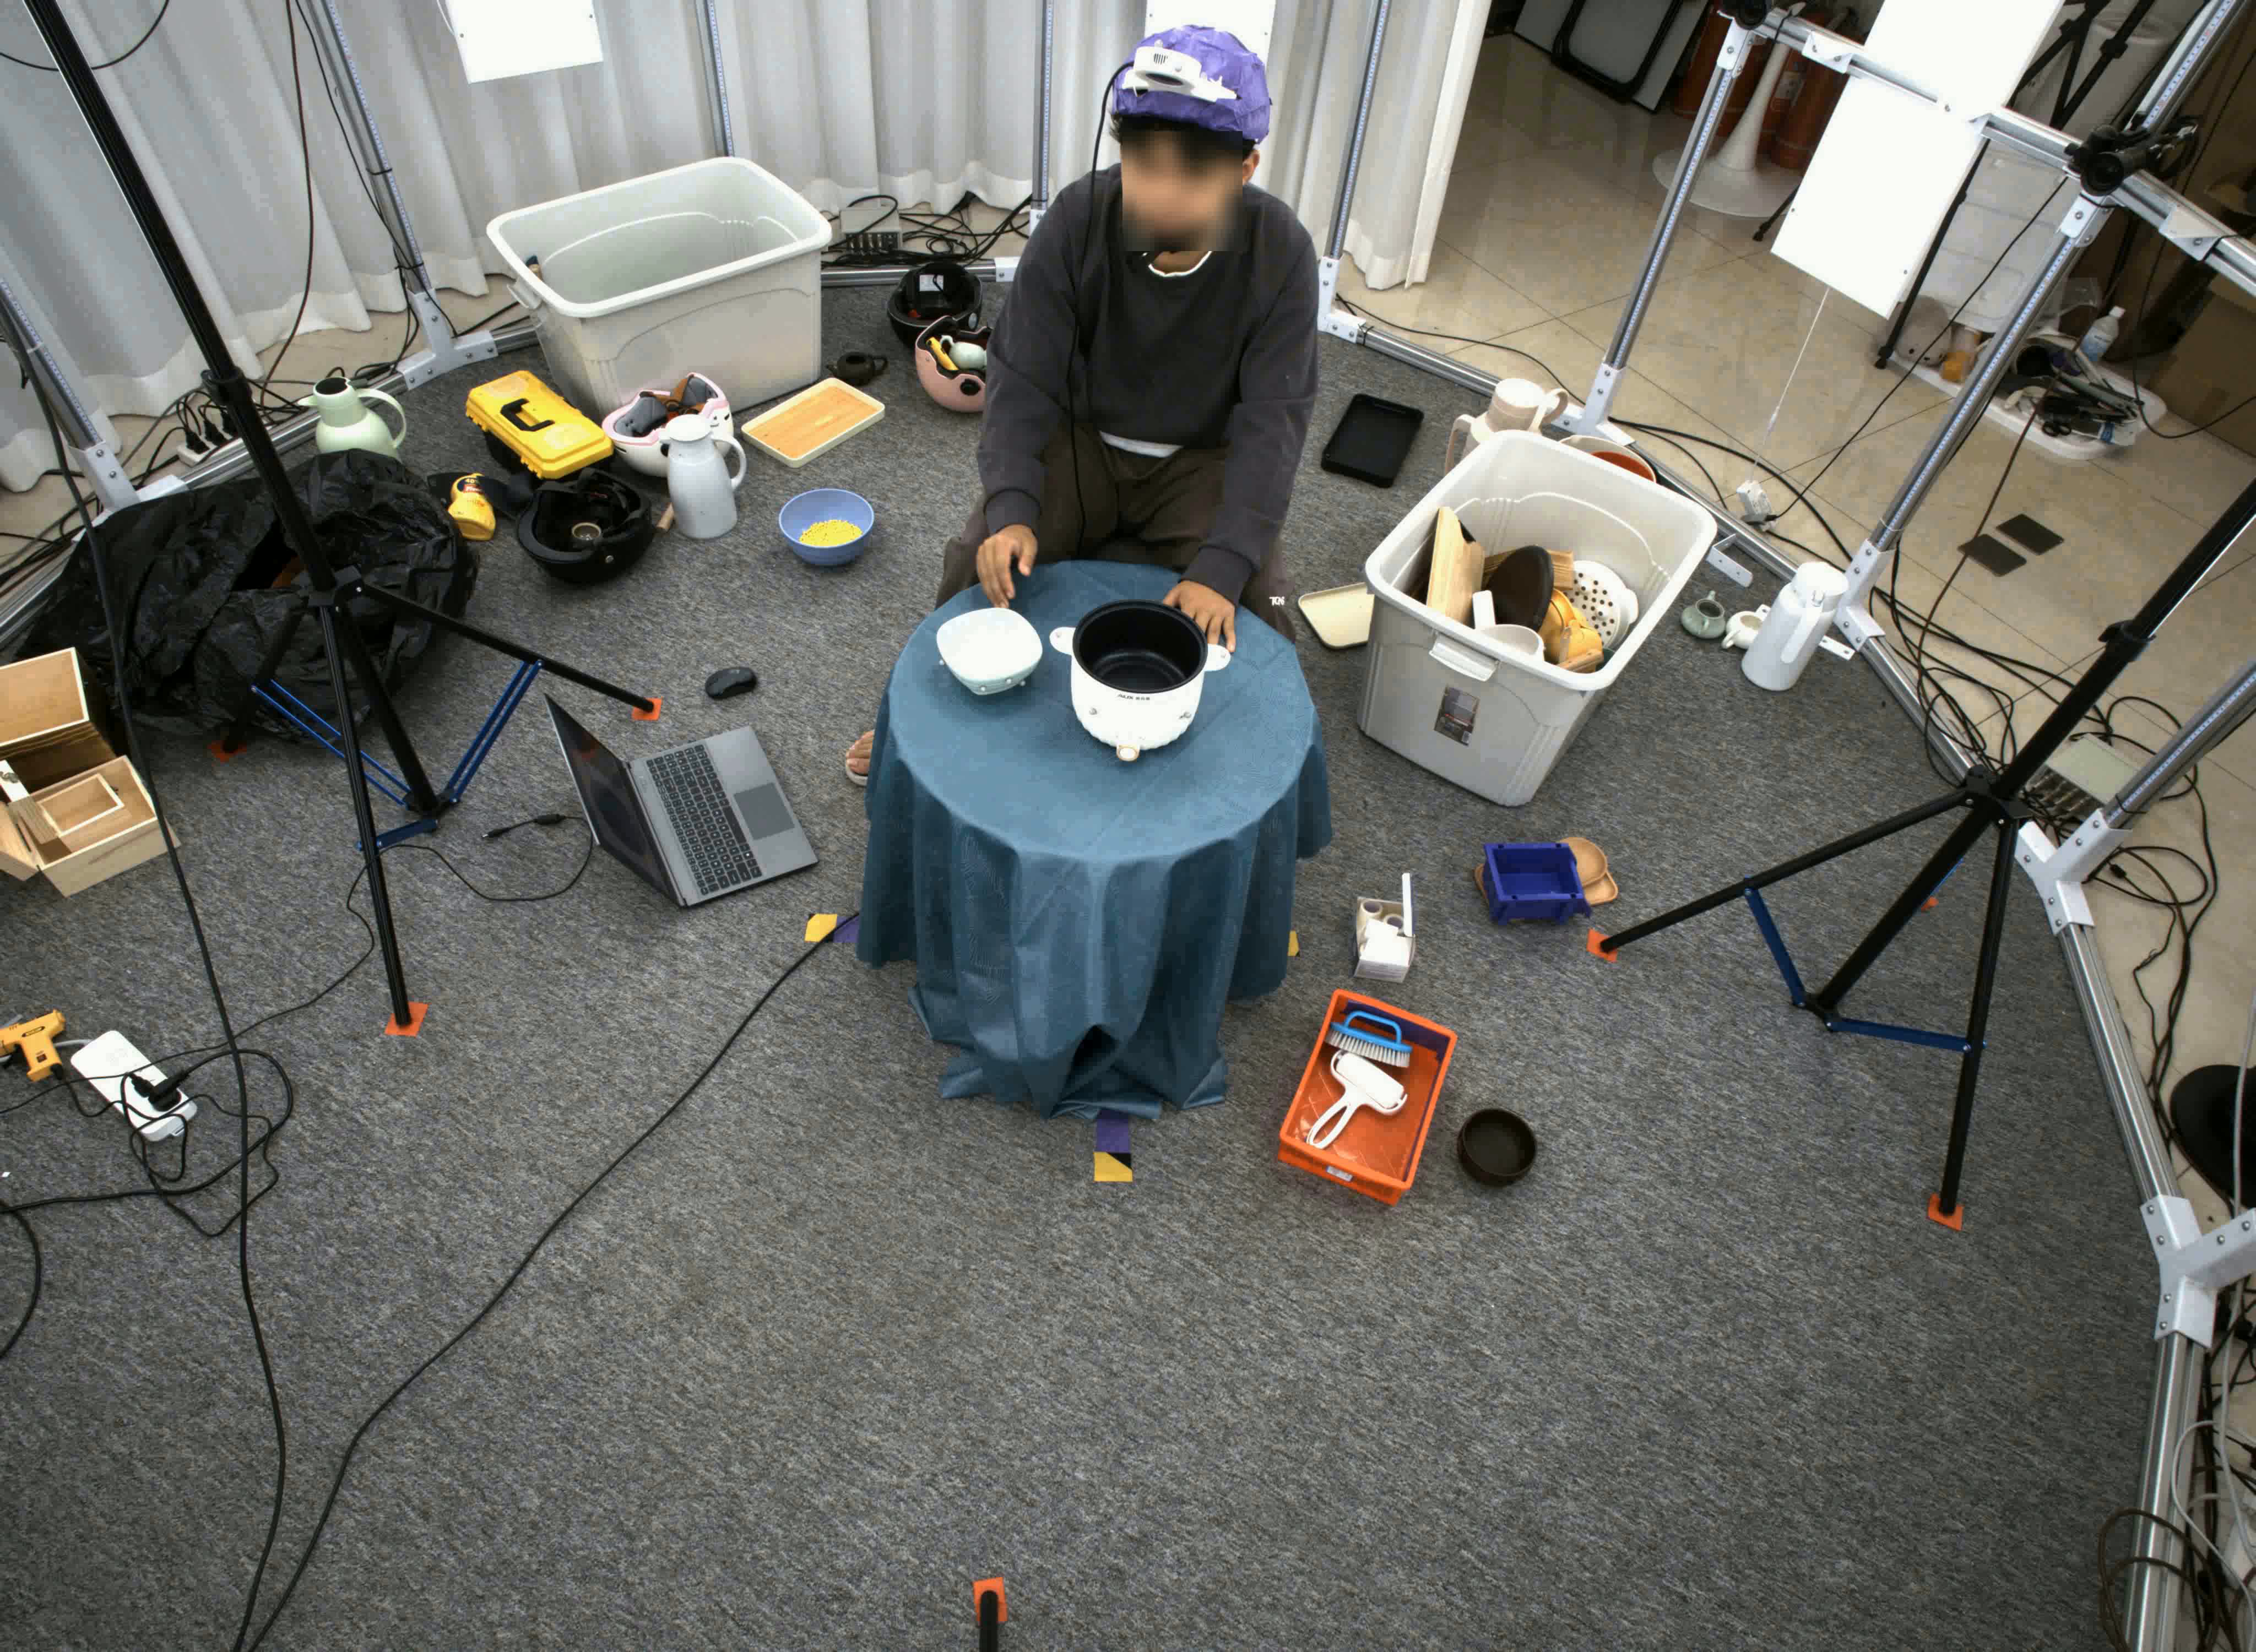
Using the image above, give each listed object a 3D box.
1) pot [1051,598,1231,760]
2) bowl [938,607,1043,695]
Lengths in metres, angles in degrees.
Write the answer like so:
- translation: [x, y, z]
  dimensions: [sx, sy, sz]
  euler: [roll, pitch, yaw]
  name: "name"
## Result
- translation: [0.015, -0.197, 1.746]
  dimensions: [0.240, 0.139, 0.195]
  euler: [4, 46, 1]
  name: "pot"
- translation: [-0.194, -0.240, 1.822]
  dimensions: [0.151, 0.057, 0.155]
  euler: [2, 51, -3]
  name: "bowl"
